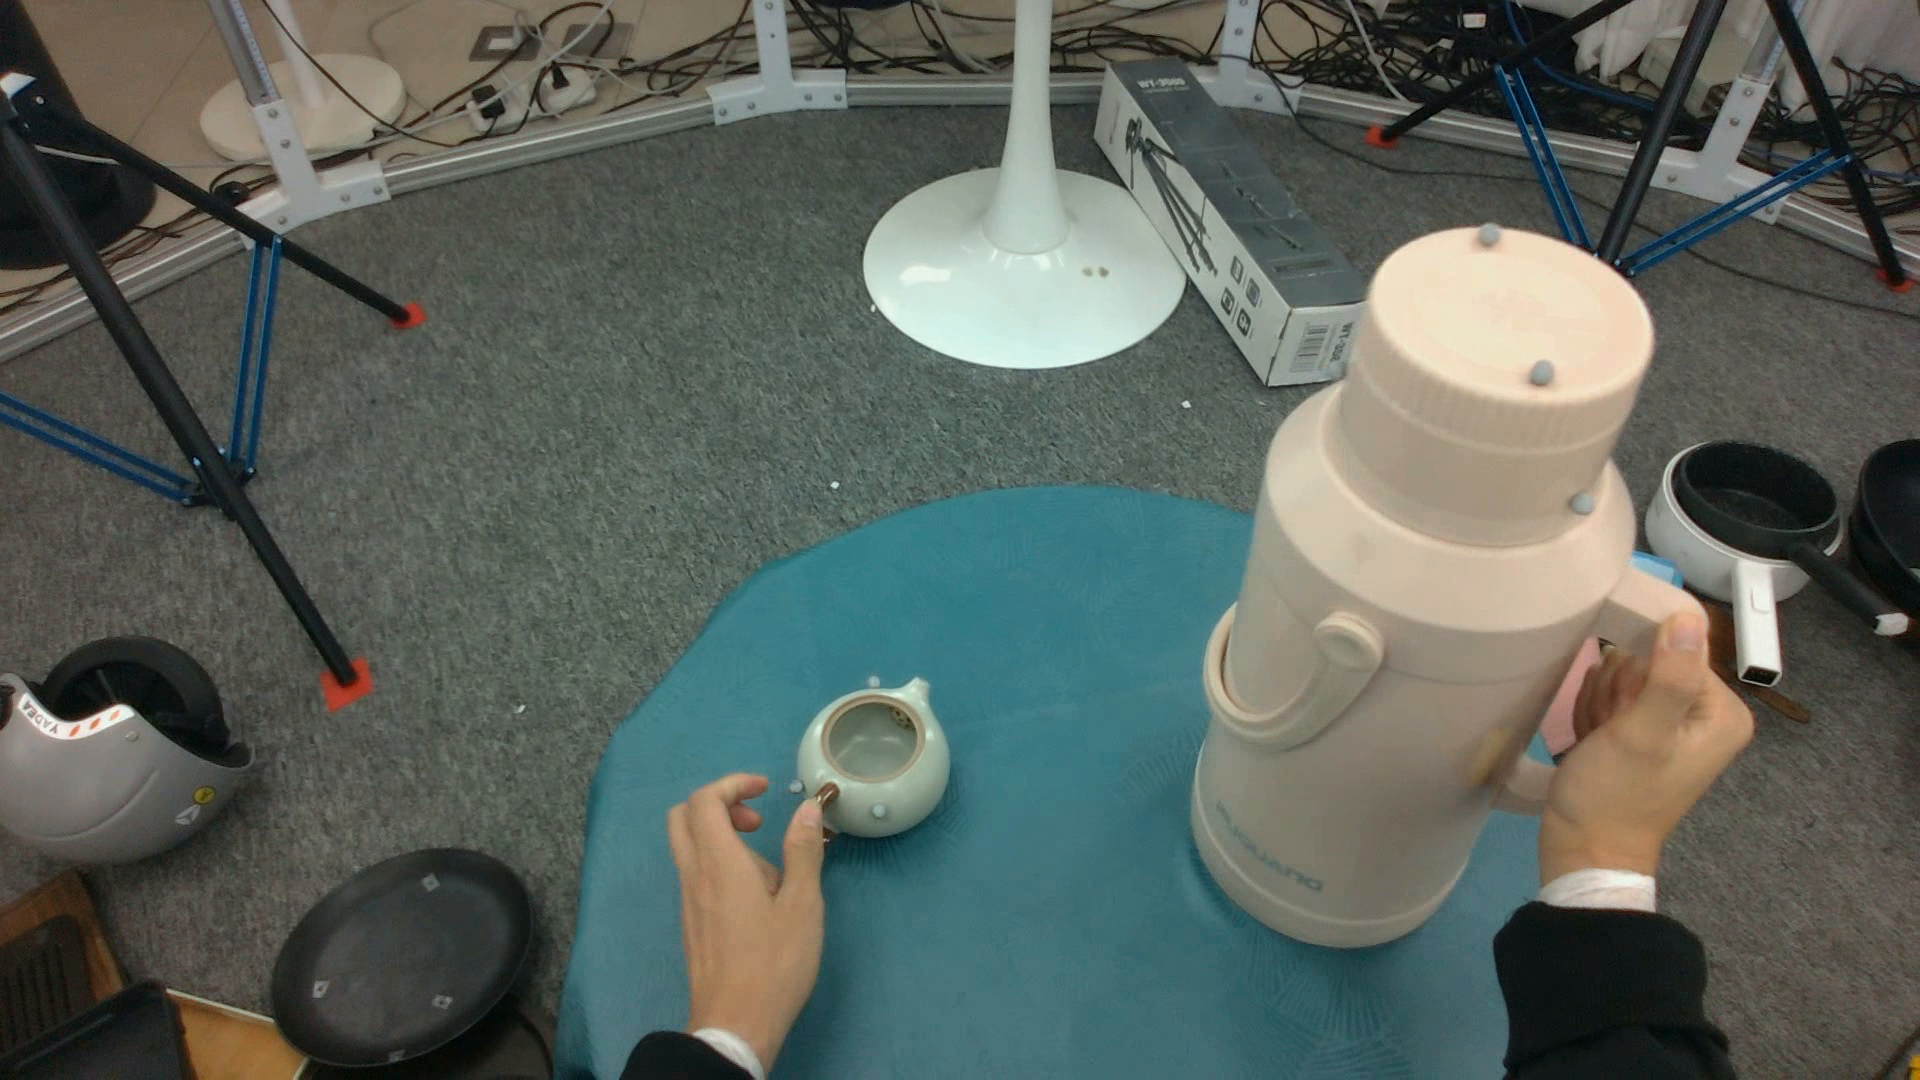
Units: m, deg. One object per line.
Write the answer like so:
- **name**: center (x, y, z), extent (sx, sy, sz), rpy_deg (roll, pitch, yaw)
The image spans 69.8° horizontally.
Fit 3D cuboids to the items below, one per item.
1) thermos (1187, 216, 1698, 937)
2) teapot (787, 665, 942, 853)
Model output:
- **thermos**: center (0.225, 0.044, 0.677), extent (0.207, 0.404, 0.176), rpy_deg (29, 54, 23)
- **teapot**: center (-0.062, 0.133, 0.818), extent (0.092, 0.059, 0.128), rpy_deg (27, 53, 17)
